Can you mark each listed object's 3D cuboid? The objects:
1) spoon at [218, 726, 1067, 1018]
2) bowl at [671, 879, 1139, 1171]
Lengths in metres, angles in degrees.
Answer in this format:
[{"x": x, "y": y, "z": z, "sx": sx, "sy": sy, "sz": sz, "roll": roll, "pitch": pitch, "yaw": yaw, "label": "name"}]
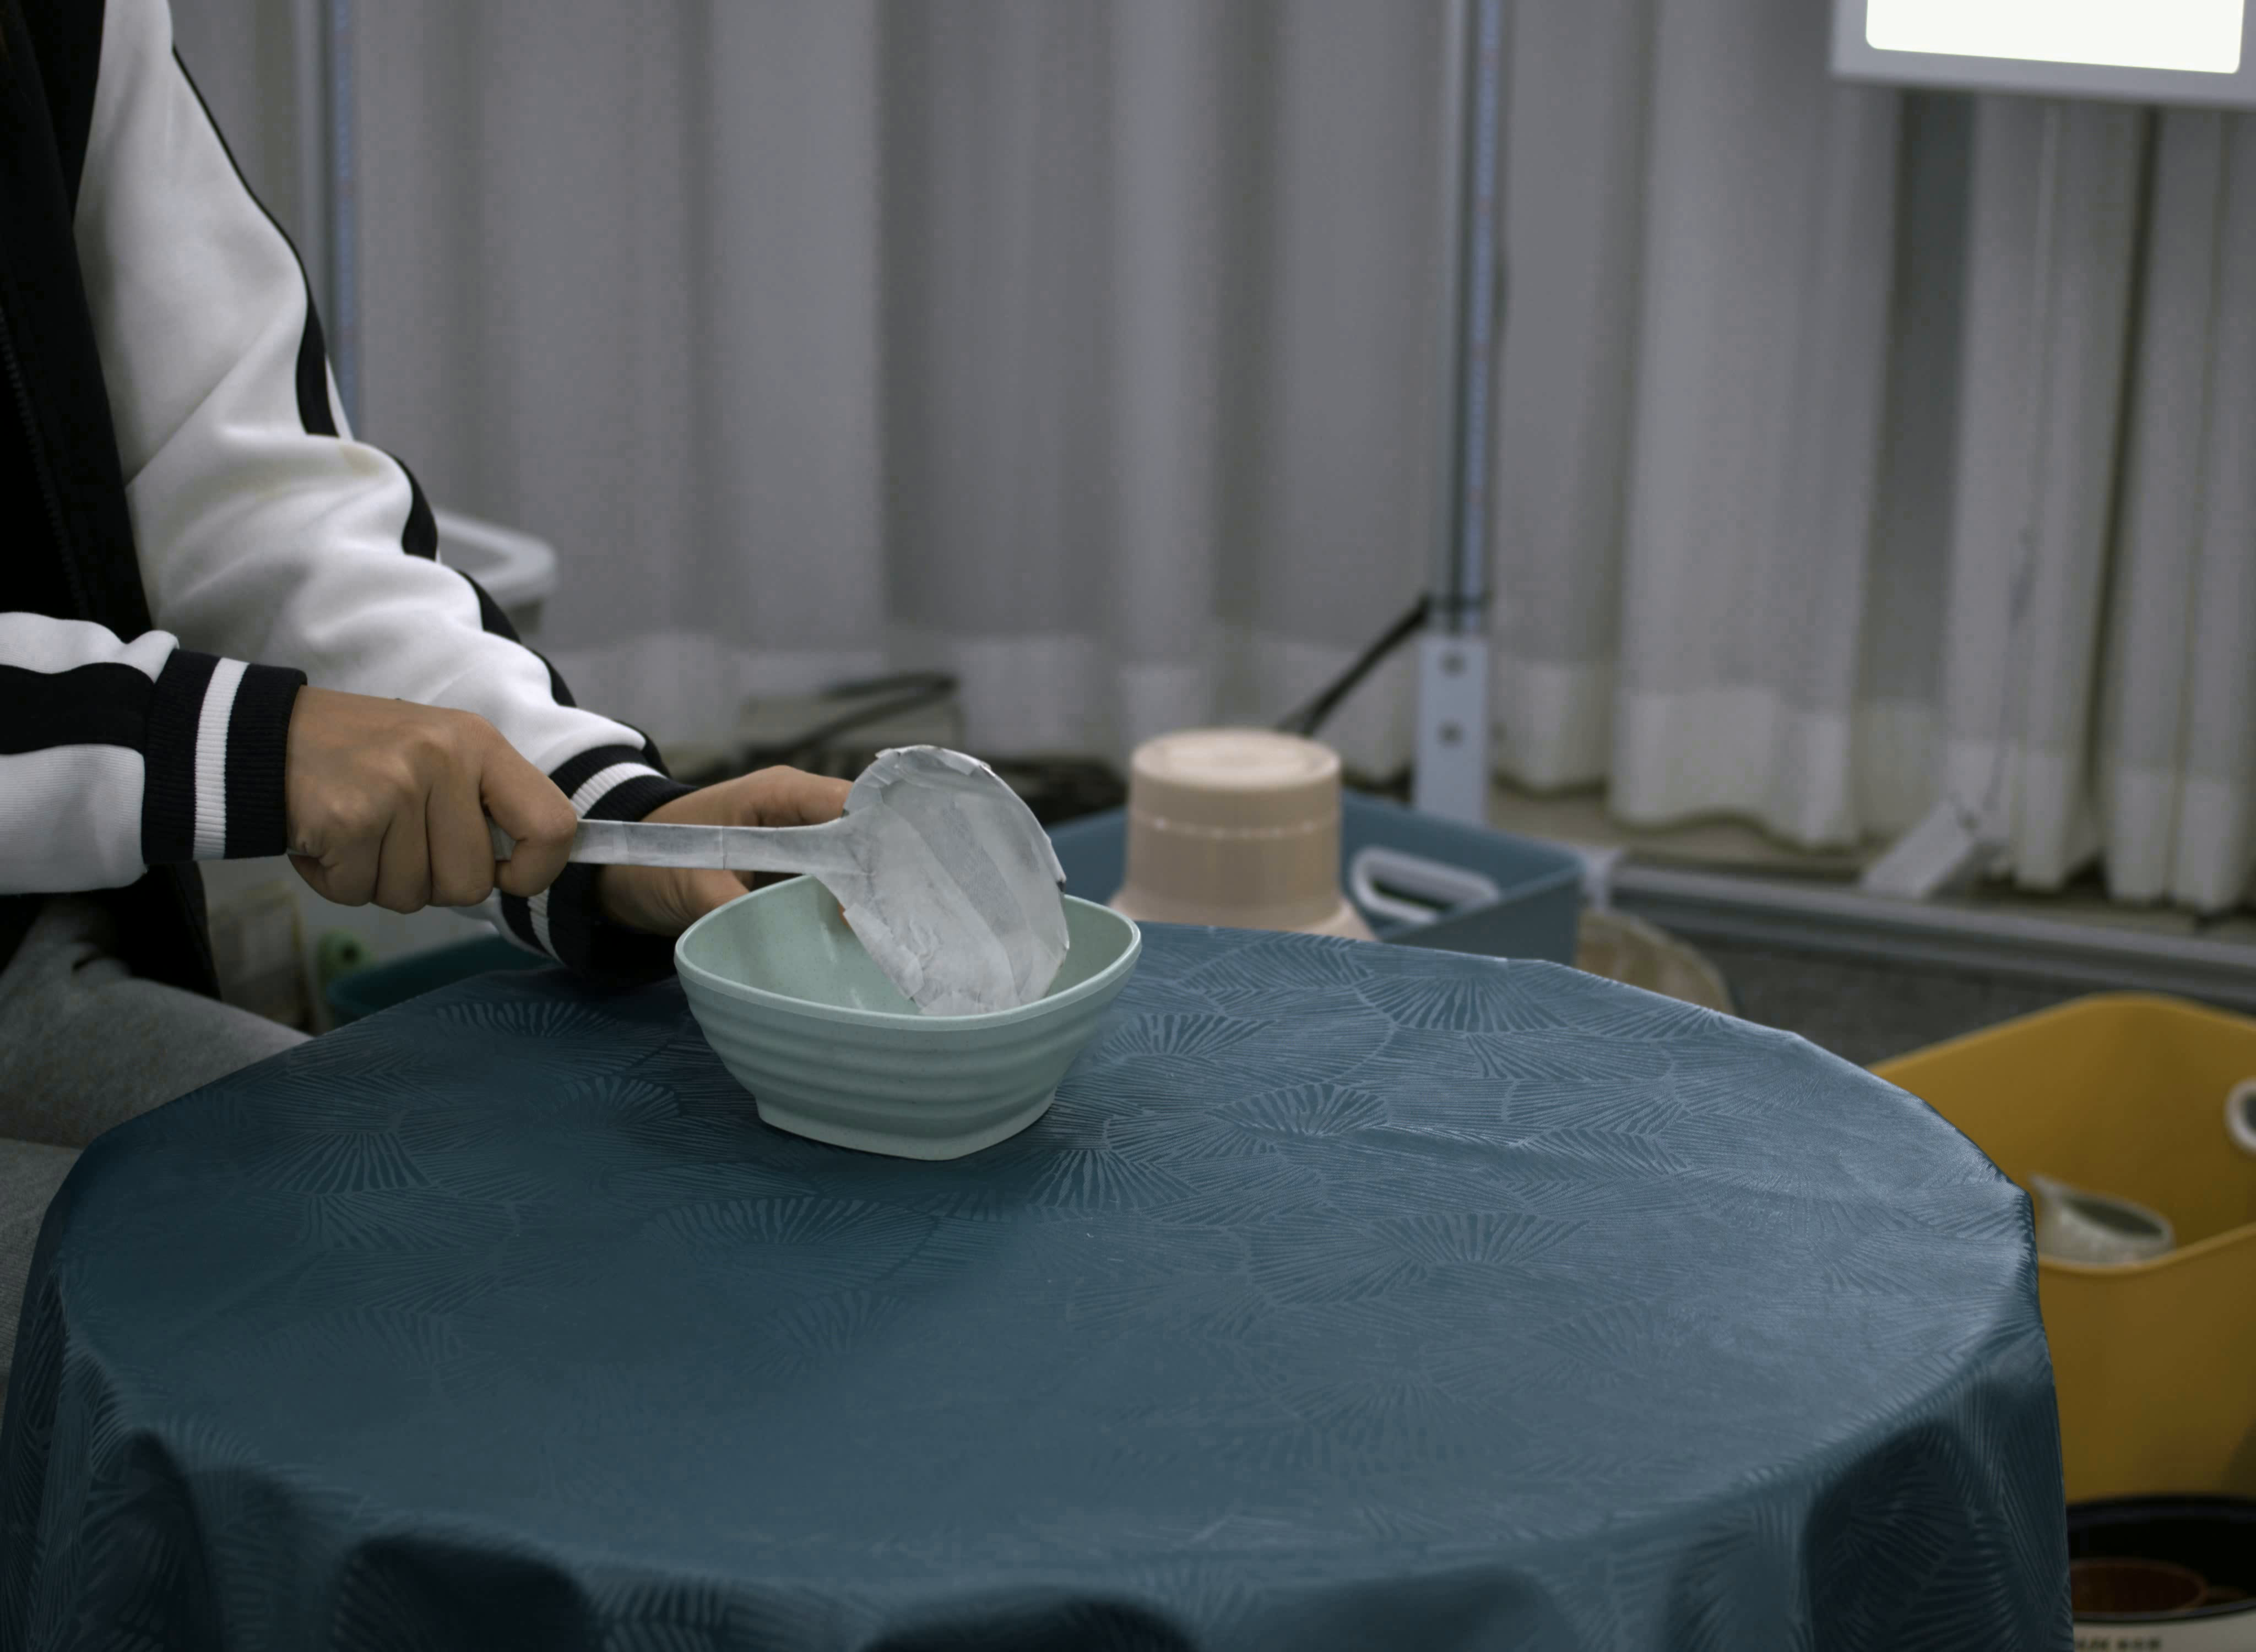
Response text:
[{"x": -0.155, "y": 0.006, "z": 1.662, "sx": 0.276, "sy": 0.101, "sz": 0.059, "roll": 5, "pitch": 18, "yaw": 0, "label": "spoon"}, {"x": -0.071, "y": 0.066, "z": 1.683, "sx": 0.151, "sy": 0.059, "sz": 0.150, "roll": 2, "pitch": 17, "yaw": 0, "label": "bowl"}]
